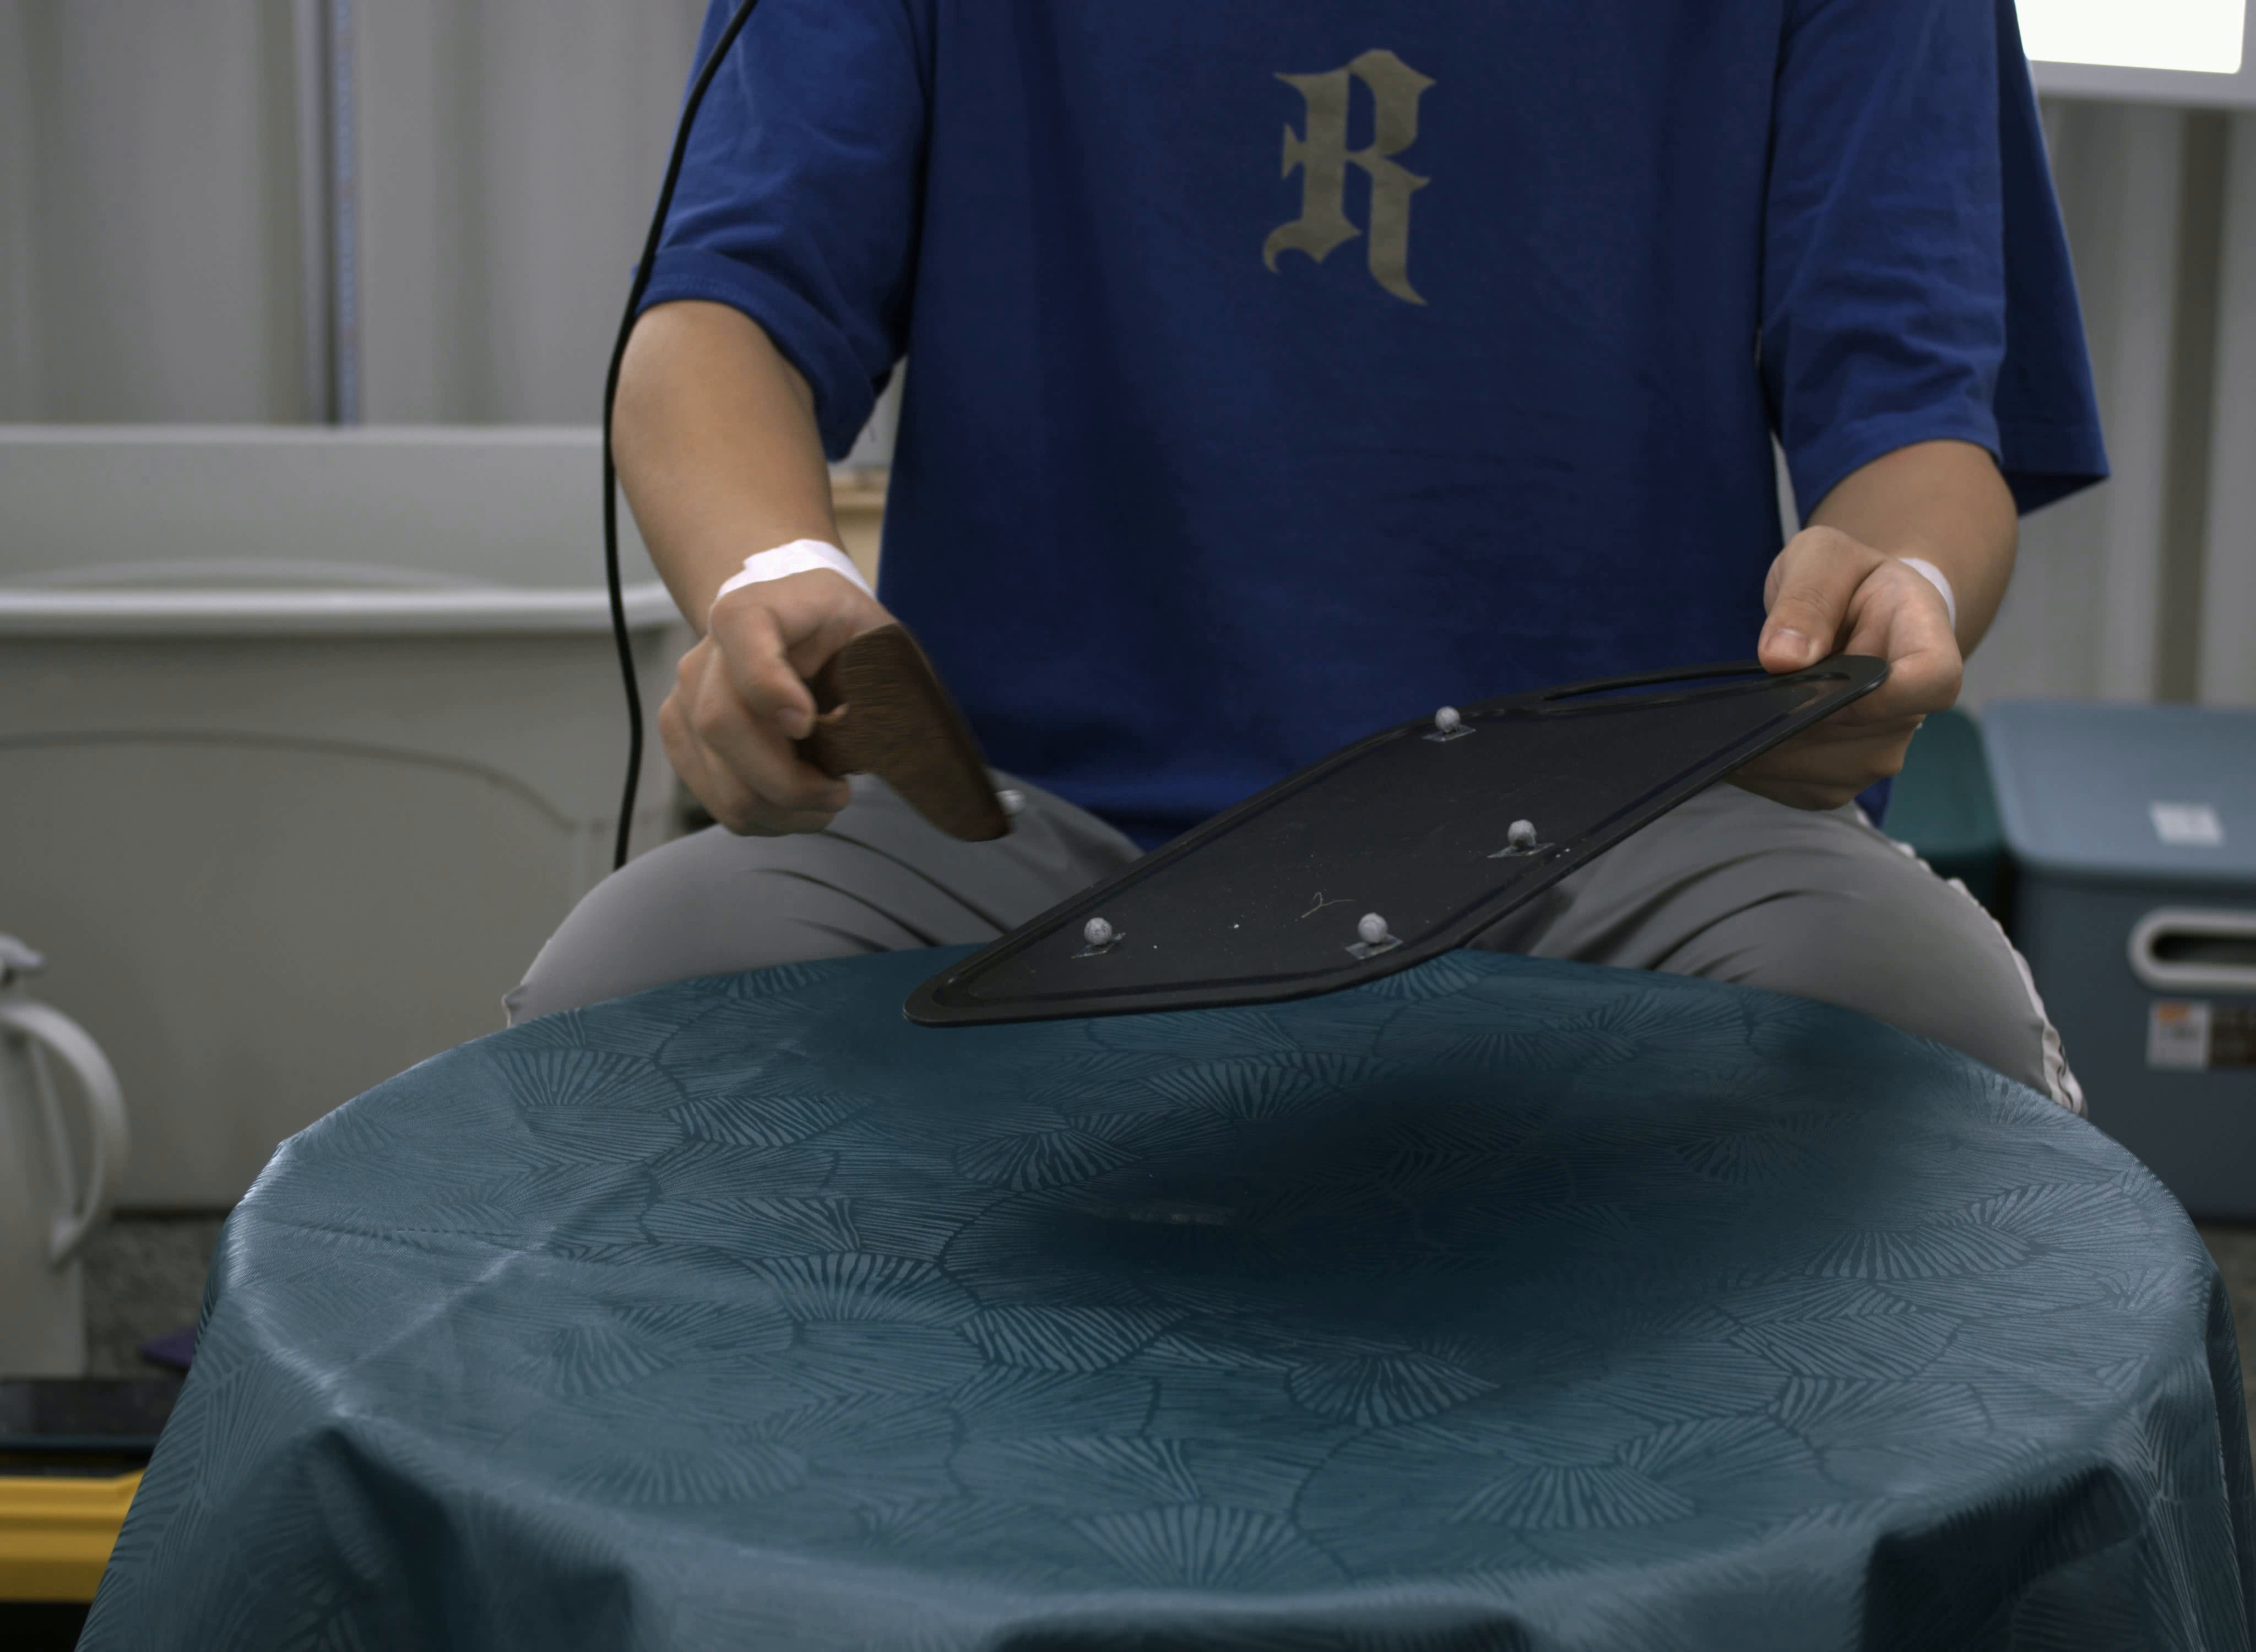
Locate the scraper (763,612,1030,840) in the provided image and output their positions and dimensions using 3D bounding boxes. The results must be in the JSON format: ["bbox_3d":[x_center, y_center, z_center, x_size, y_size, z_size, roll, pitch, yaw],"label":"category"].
[{"bbox_3d":[-0.081,-0.027,1.641,0.011,0.076,0.210,-33,9,-17],"label":"scraper"}]

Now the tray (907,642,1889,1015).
[{"bbox_3d":[0.090,-0.004,1.620,0.209,0.010,0.326,-6,15,42],"label":"tray"}]
